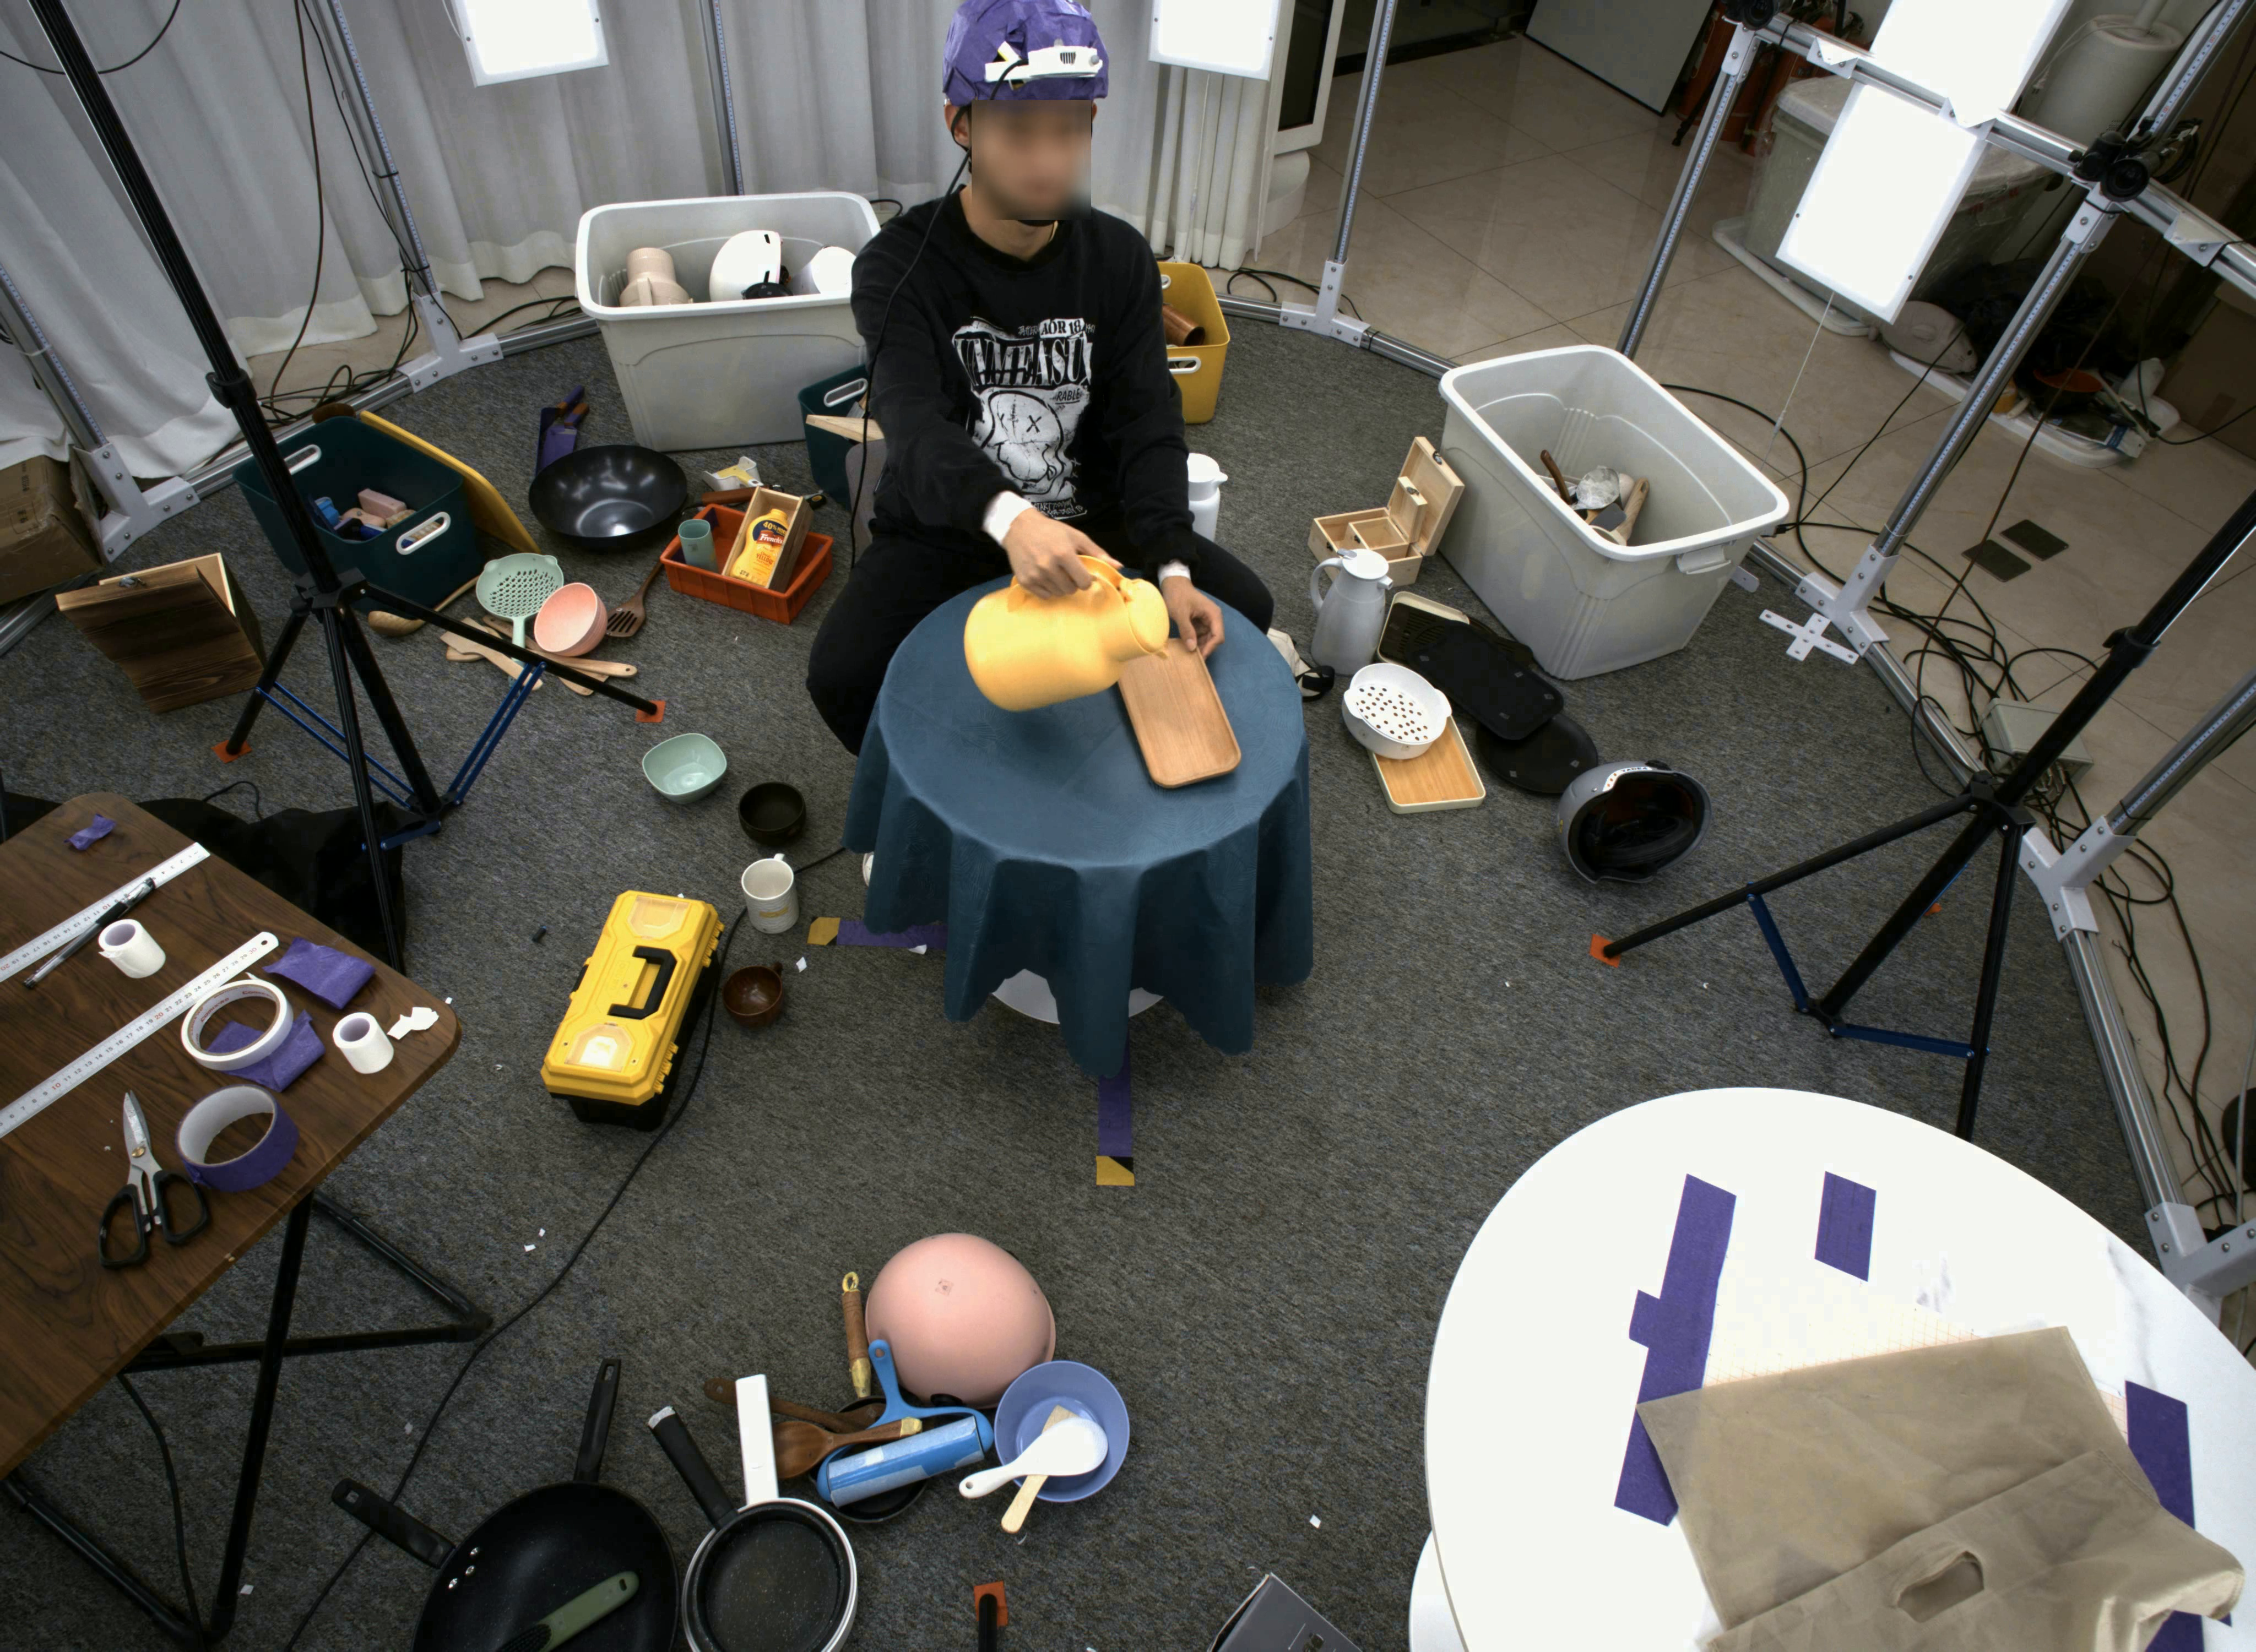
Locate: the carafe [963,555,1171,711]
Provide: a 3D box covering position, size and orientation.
[{"bbox_3d":[-0.084,-0.258,1.652,0.260,0.198,0.167,-9,50,29],"label":"carafe"}]

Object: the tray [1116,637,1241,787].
[{"bbox_3d":[0.066,-0.161,1.784,0.130,0.022,0.257,-12,53,-6],"label":"tray"}]
